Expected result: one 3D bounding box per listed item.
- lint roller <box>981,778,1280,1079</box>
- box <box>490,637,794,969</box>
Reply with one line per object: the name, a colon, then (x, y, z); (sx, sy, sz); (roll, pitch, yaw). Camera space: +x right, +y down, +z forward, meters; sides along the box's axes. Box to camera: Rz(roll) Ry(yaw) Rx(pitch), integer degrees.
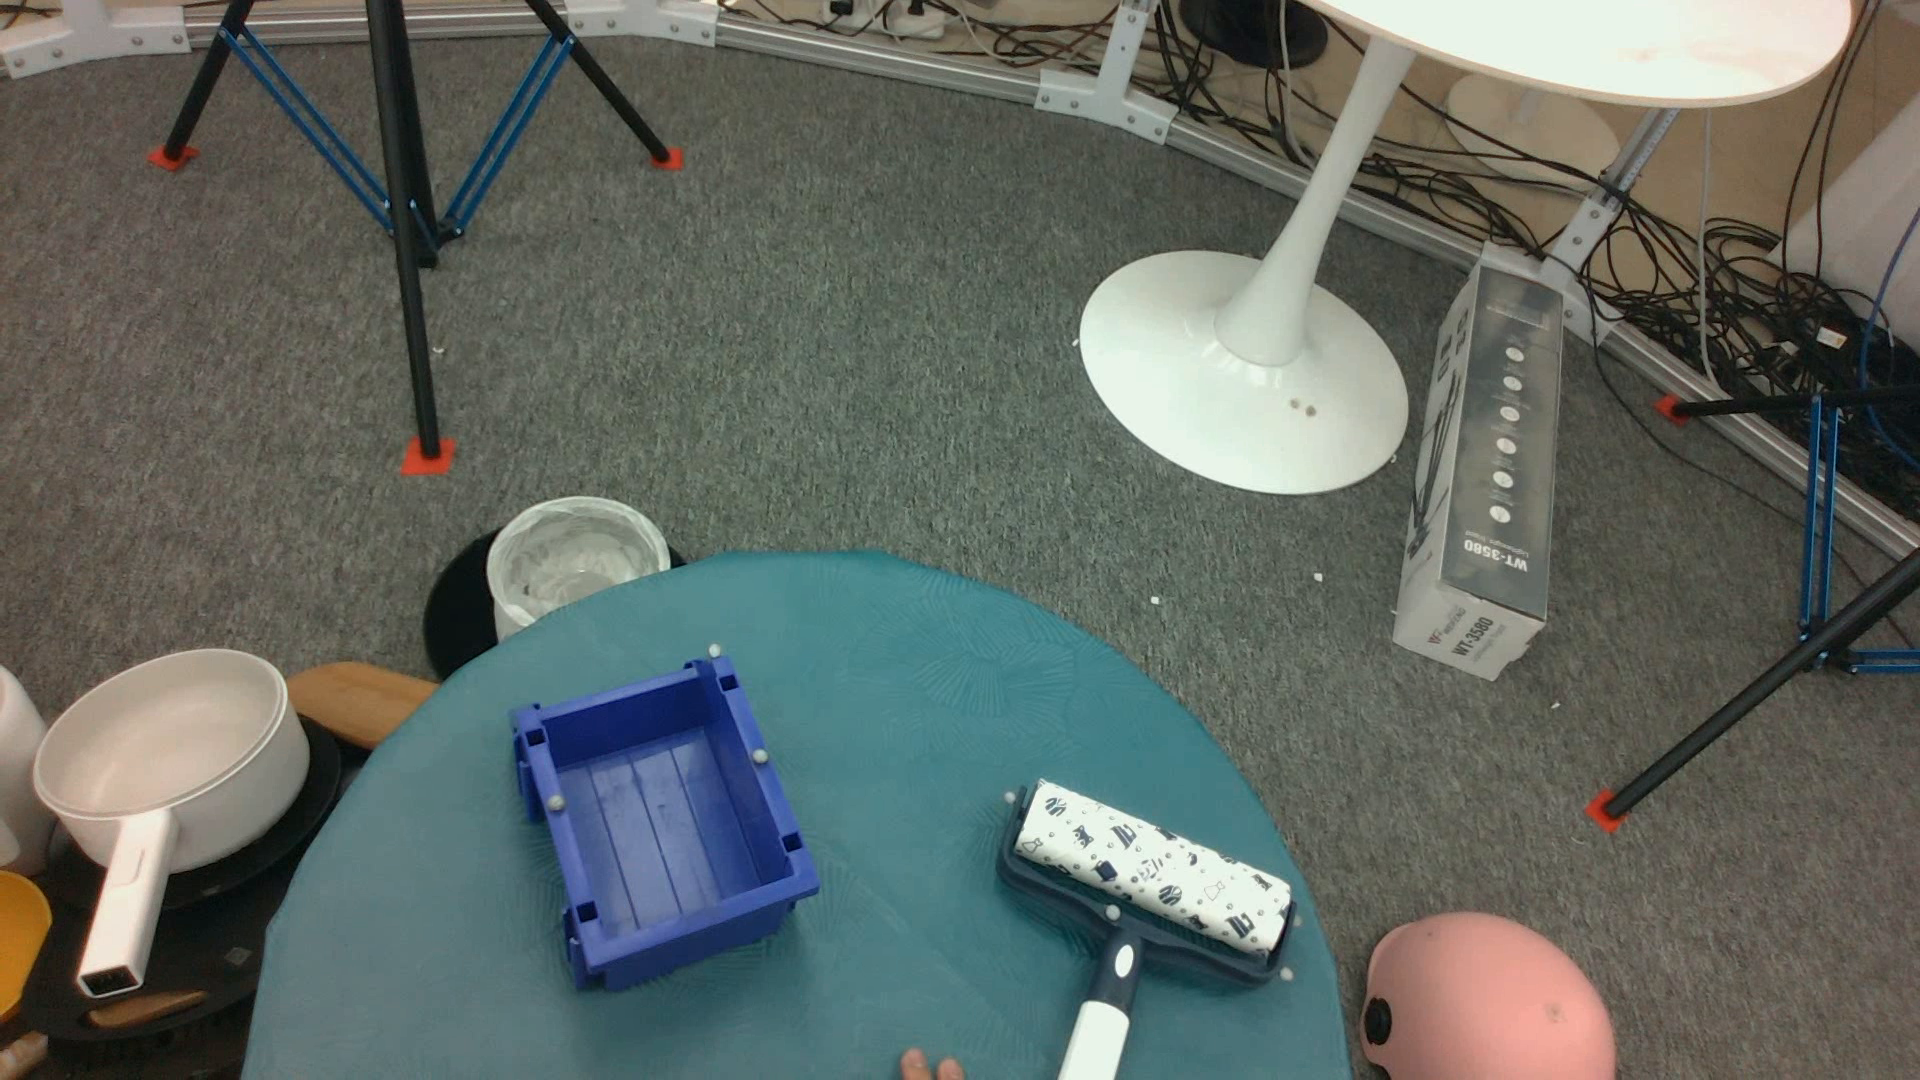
lint roller: (0.071, 0.266, 0.758); (0.176, 0.050, 0.248); (22, 52, 2)
box: (-0.184, 0.139, 0.769); (0.125, 0.081, 0.180); (-13, 59, -23)
